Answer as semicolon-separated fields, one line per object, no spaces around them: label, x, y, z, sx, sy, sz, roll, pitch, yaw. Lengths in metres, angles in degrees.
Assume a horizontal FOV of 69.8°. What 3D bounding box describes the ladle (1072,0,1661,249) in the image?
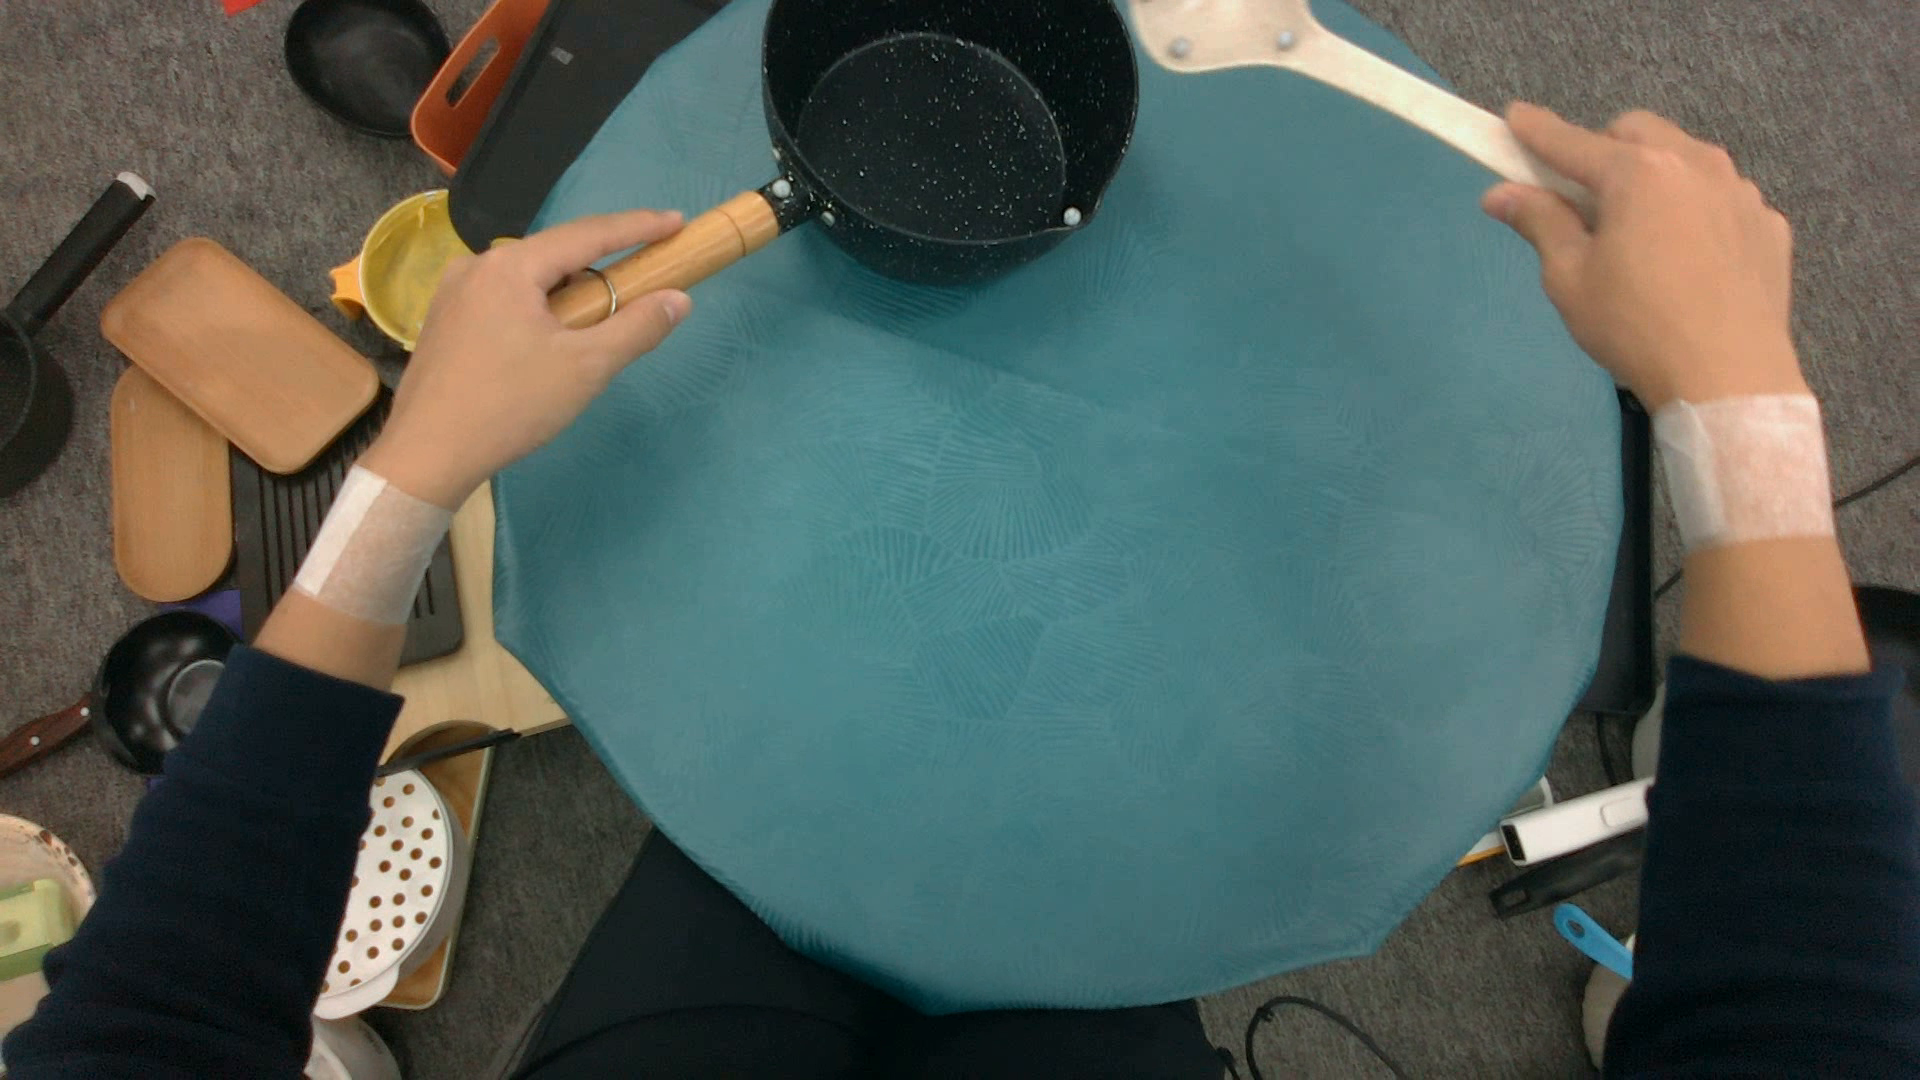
ladle;0.165;-0.201;0.576;0.275;0.069;0.089;36;82;27

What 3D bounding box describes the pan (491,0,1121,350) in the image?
pan;-0.073;-0.178;0.670;0.344;0.108;0.207;-41;86;-19
